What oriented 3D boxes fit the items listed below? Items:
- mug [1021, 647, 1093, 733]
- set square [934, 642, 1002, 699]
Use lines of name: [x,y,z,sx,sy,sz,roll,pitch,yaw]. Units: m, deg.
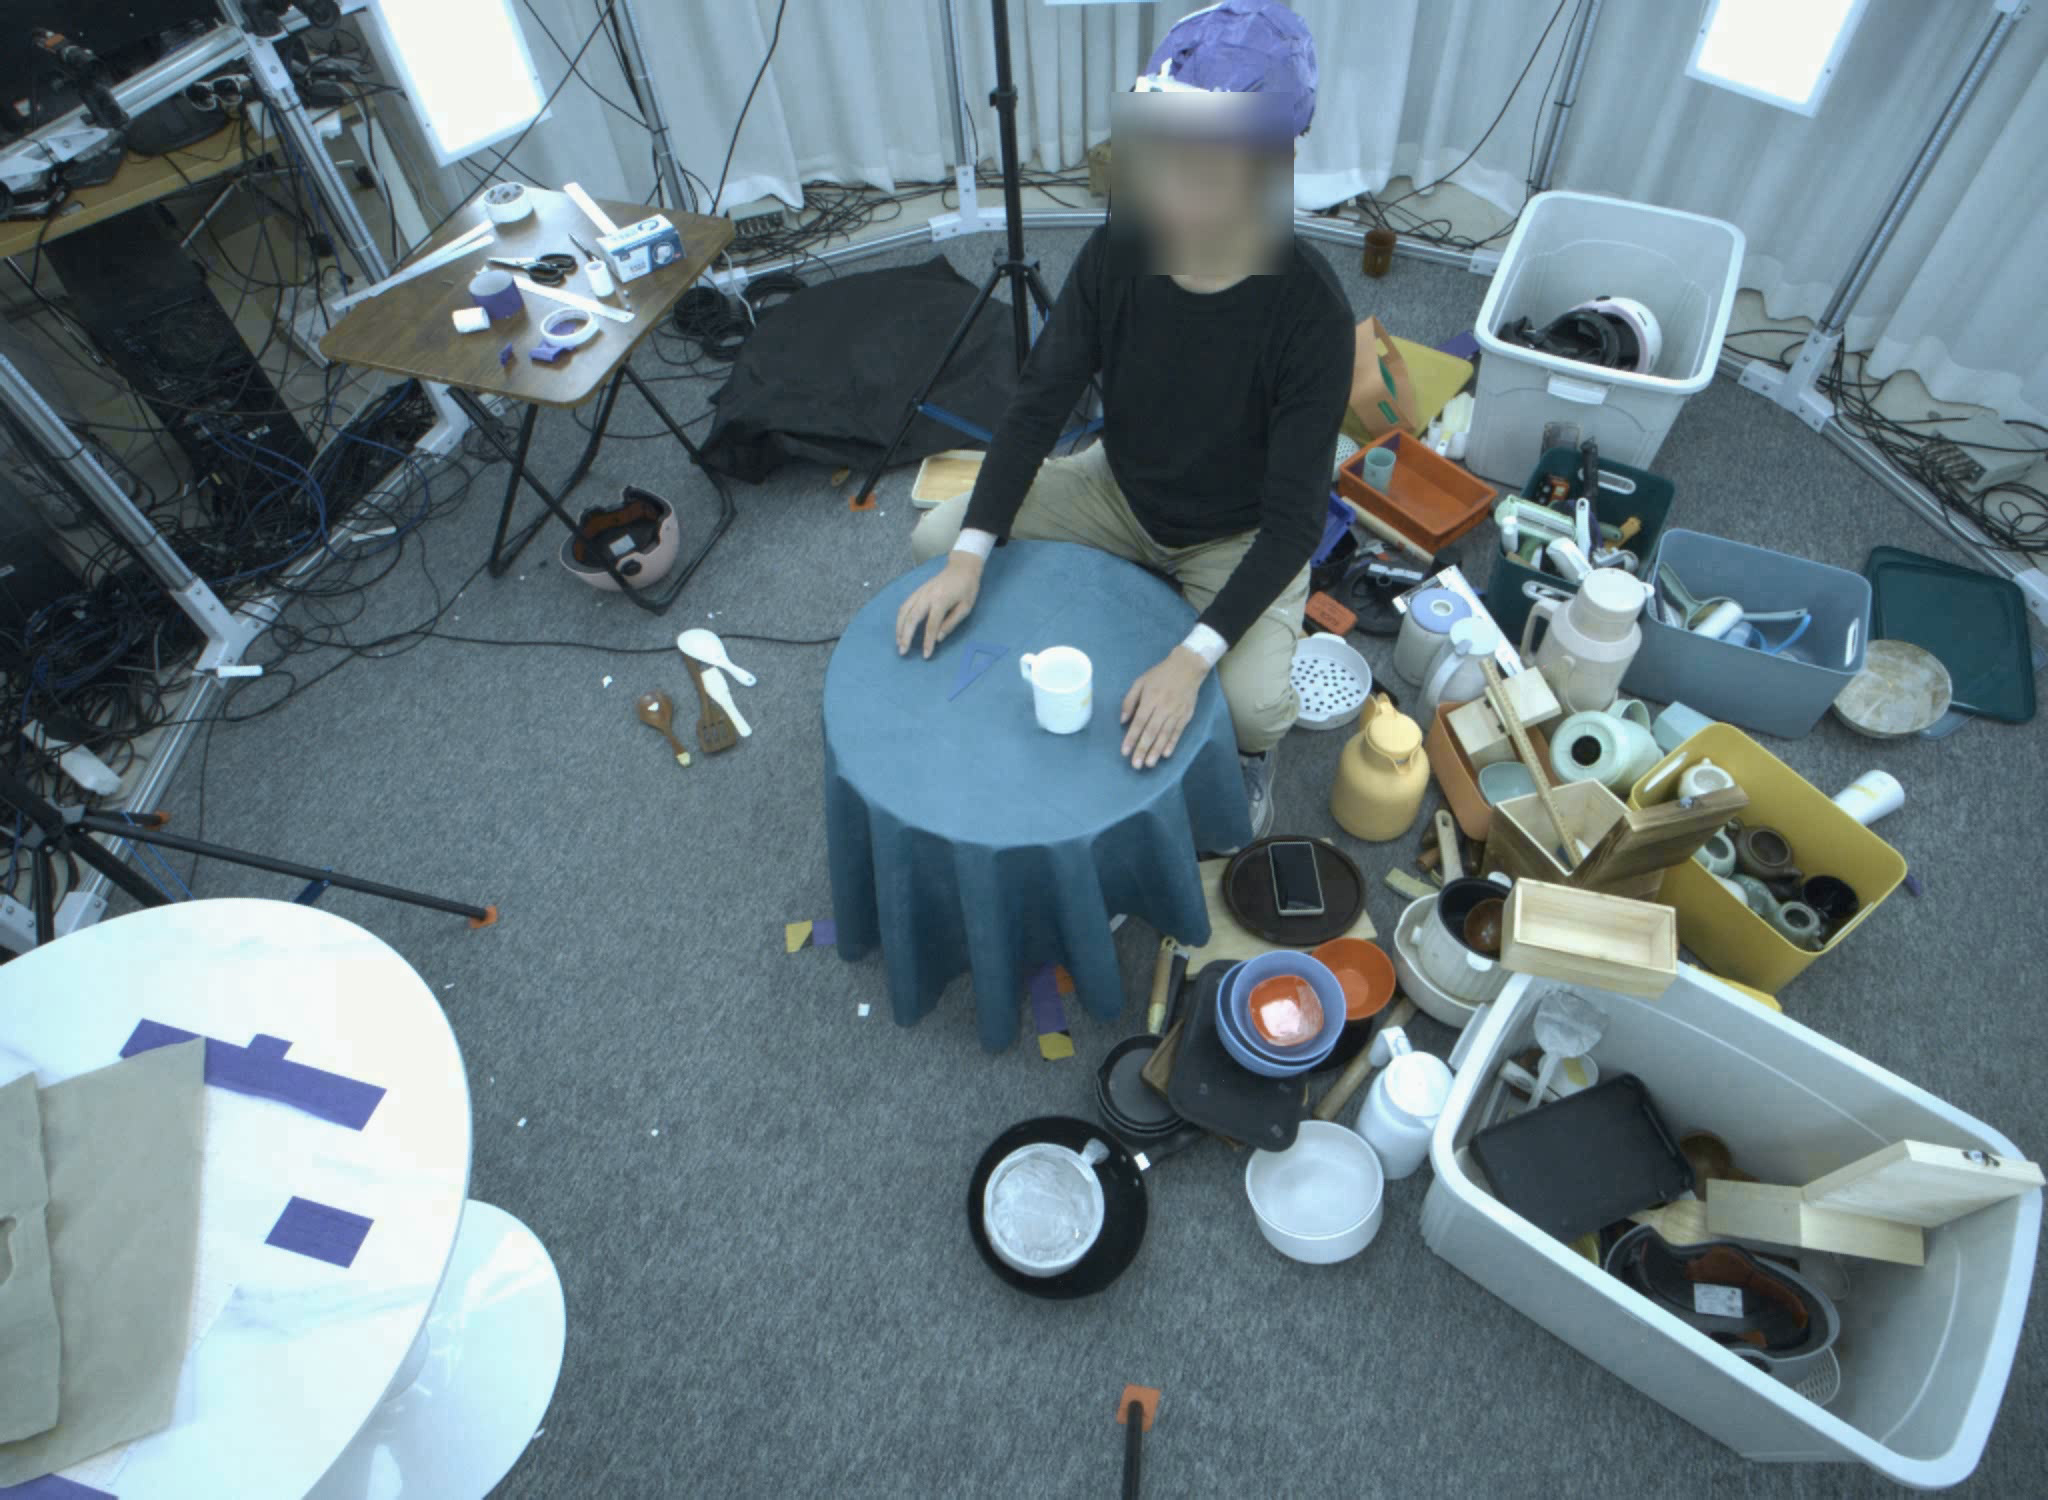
mug: [0.045,-0.093,1.789,0.116,0.103,0.085,33,63,23]
set square: [-0.100,-0.130,1.881,0.133,0.006,0.060,-39,64,-23]
